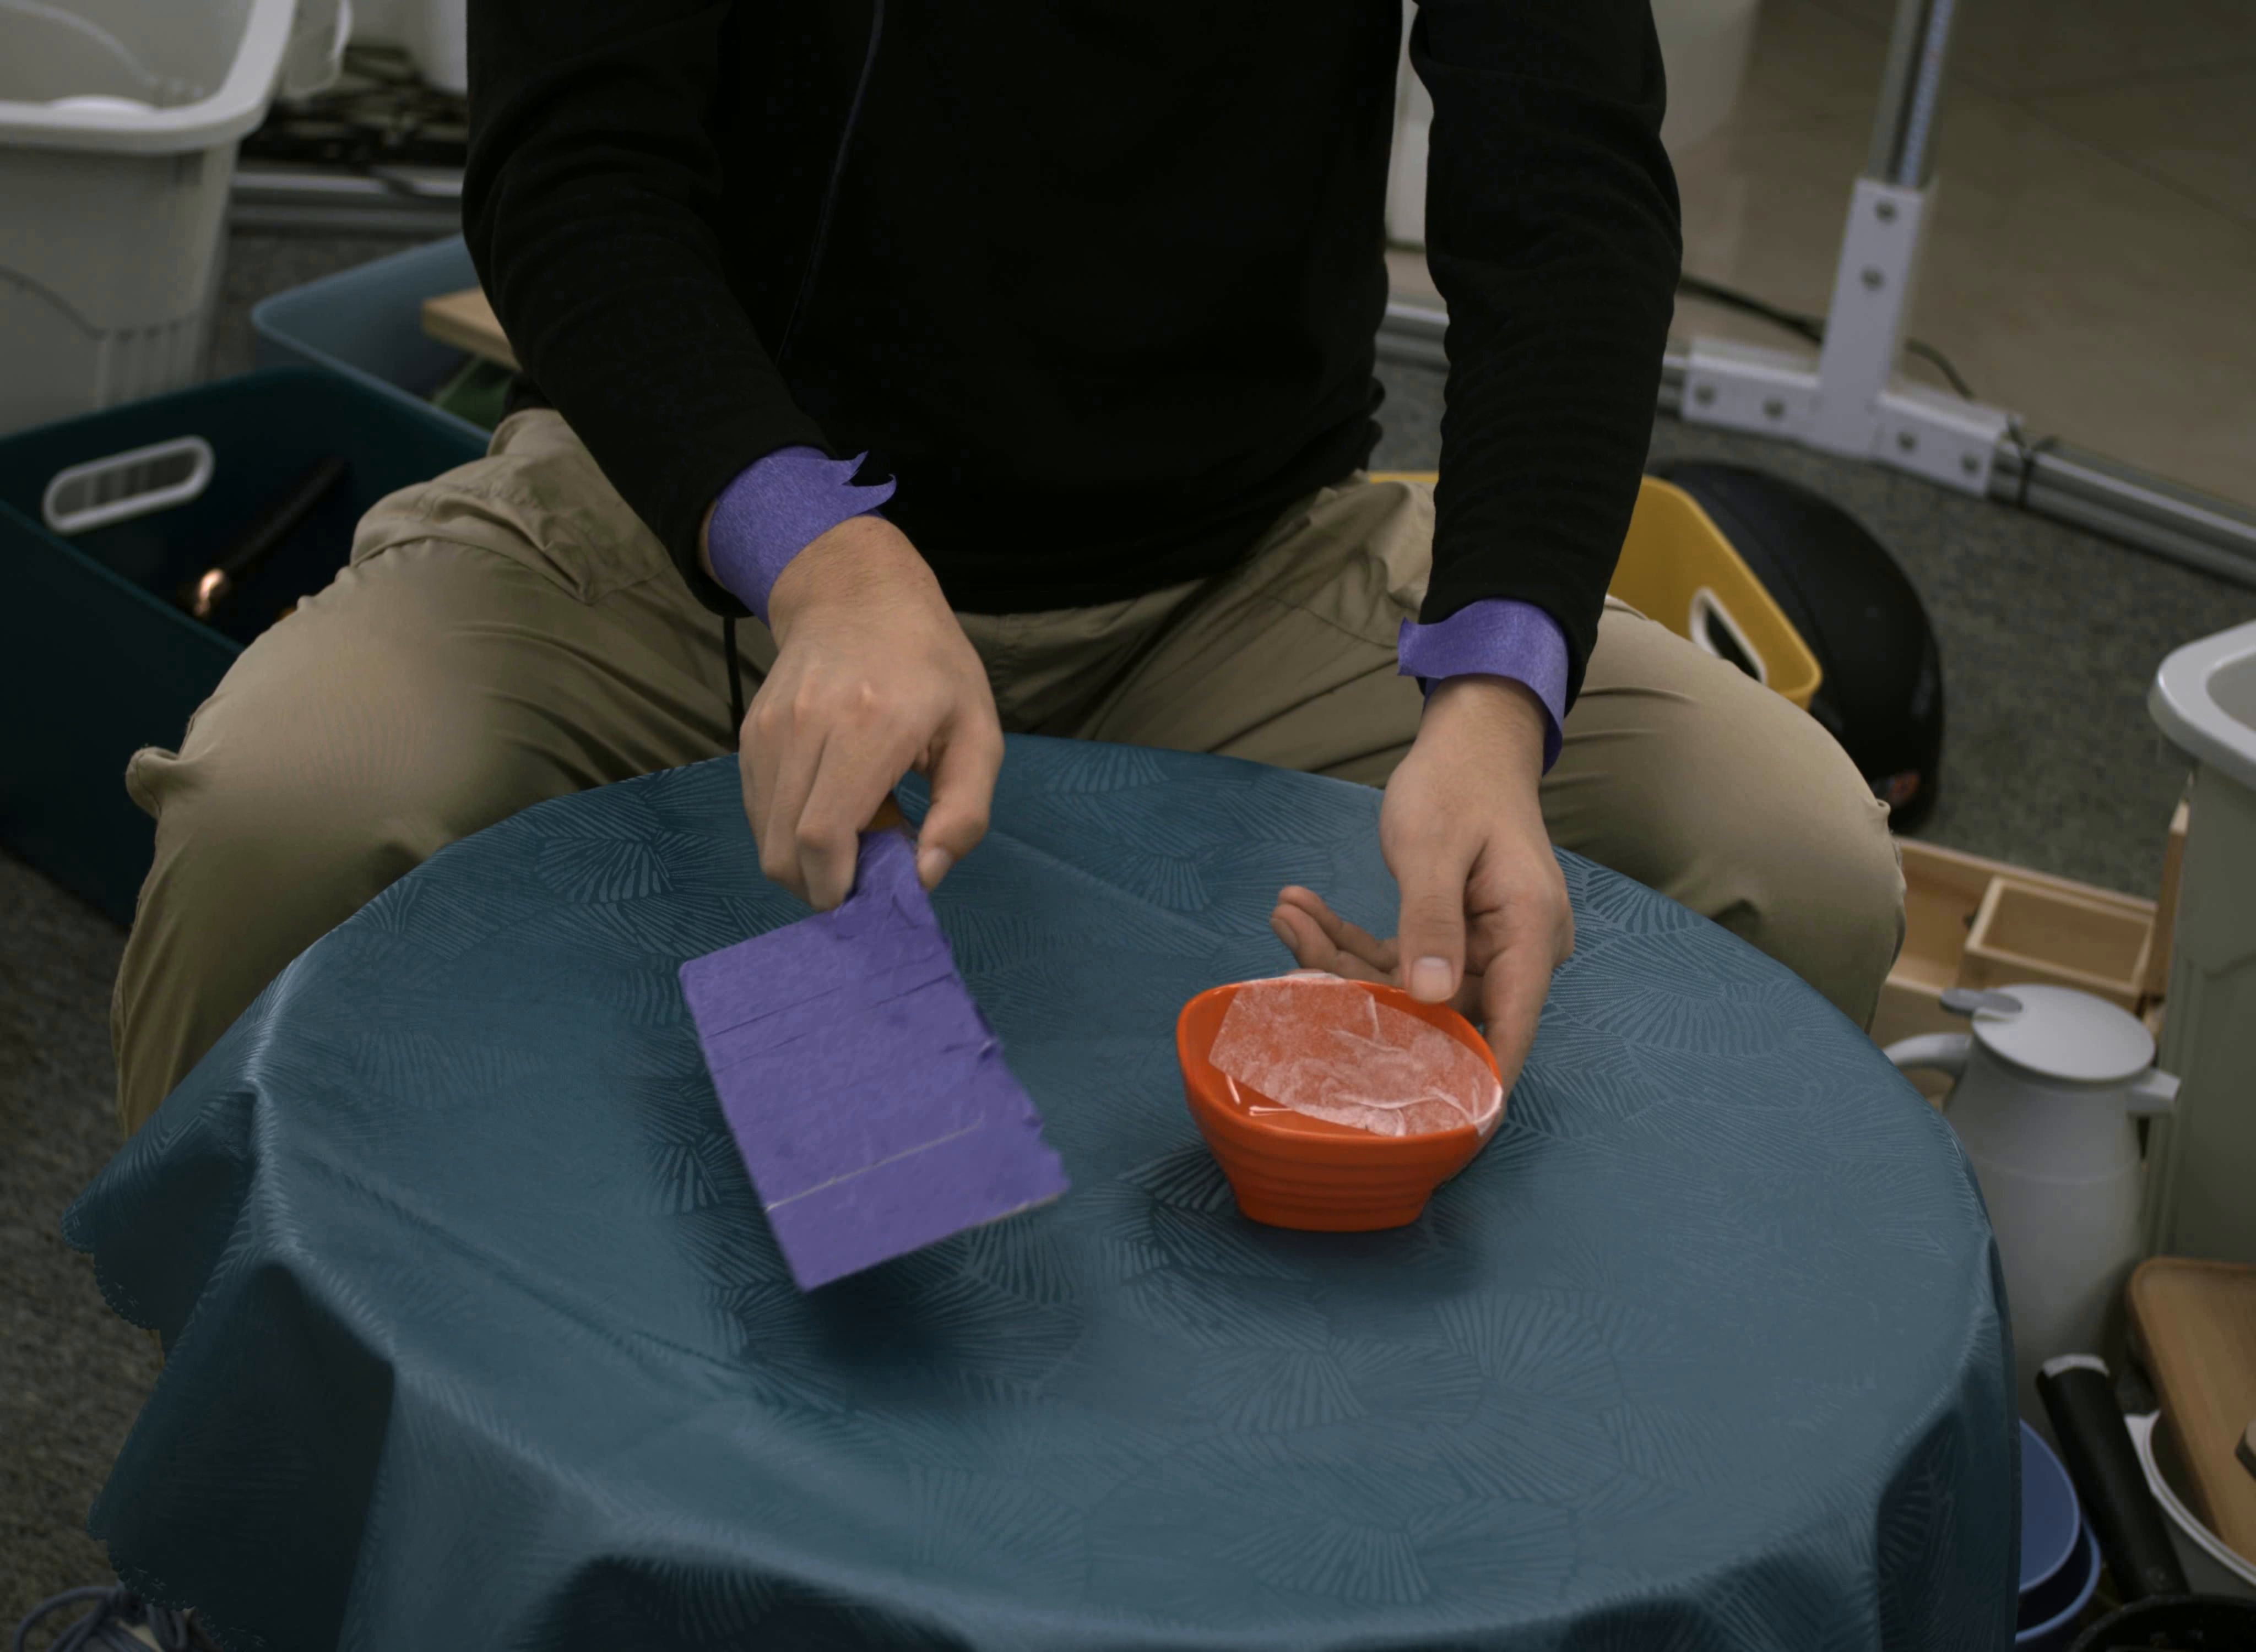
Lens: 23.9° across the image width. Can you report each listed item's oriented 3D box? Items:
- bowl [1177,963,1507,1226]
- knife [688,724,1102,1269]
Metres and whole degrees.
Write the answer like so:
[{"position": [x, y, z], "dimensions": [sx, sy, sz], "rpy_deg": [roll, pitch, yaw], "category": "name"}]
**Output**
[{"position": [0.070, 0.096, 1.811], "dimensions": [0.118, 0.051, 0.120], "rpy_deg": [4, 31, -3], "category": "bowl"}, {"position": [-0.098, 0.052, 1.798], "dimensions": [0.103, 0.032, 0.318], "rpy_deg": [-20, 29, -7], "category": "knife"}]
